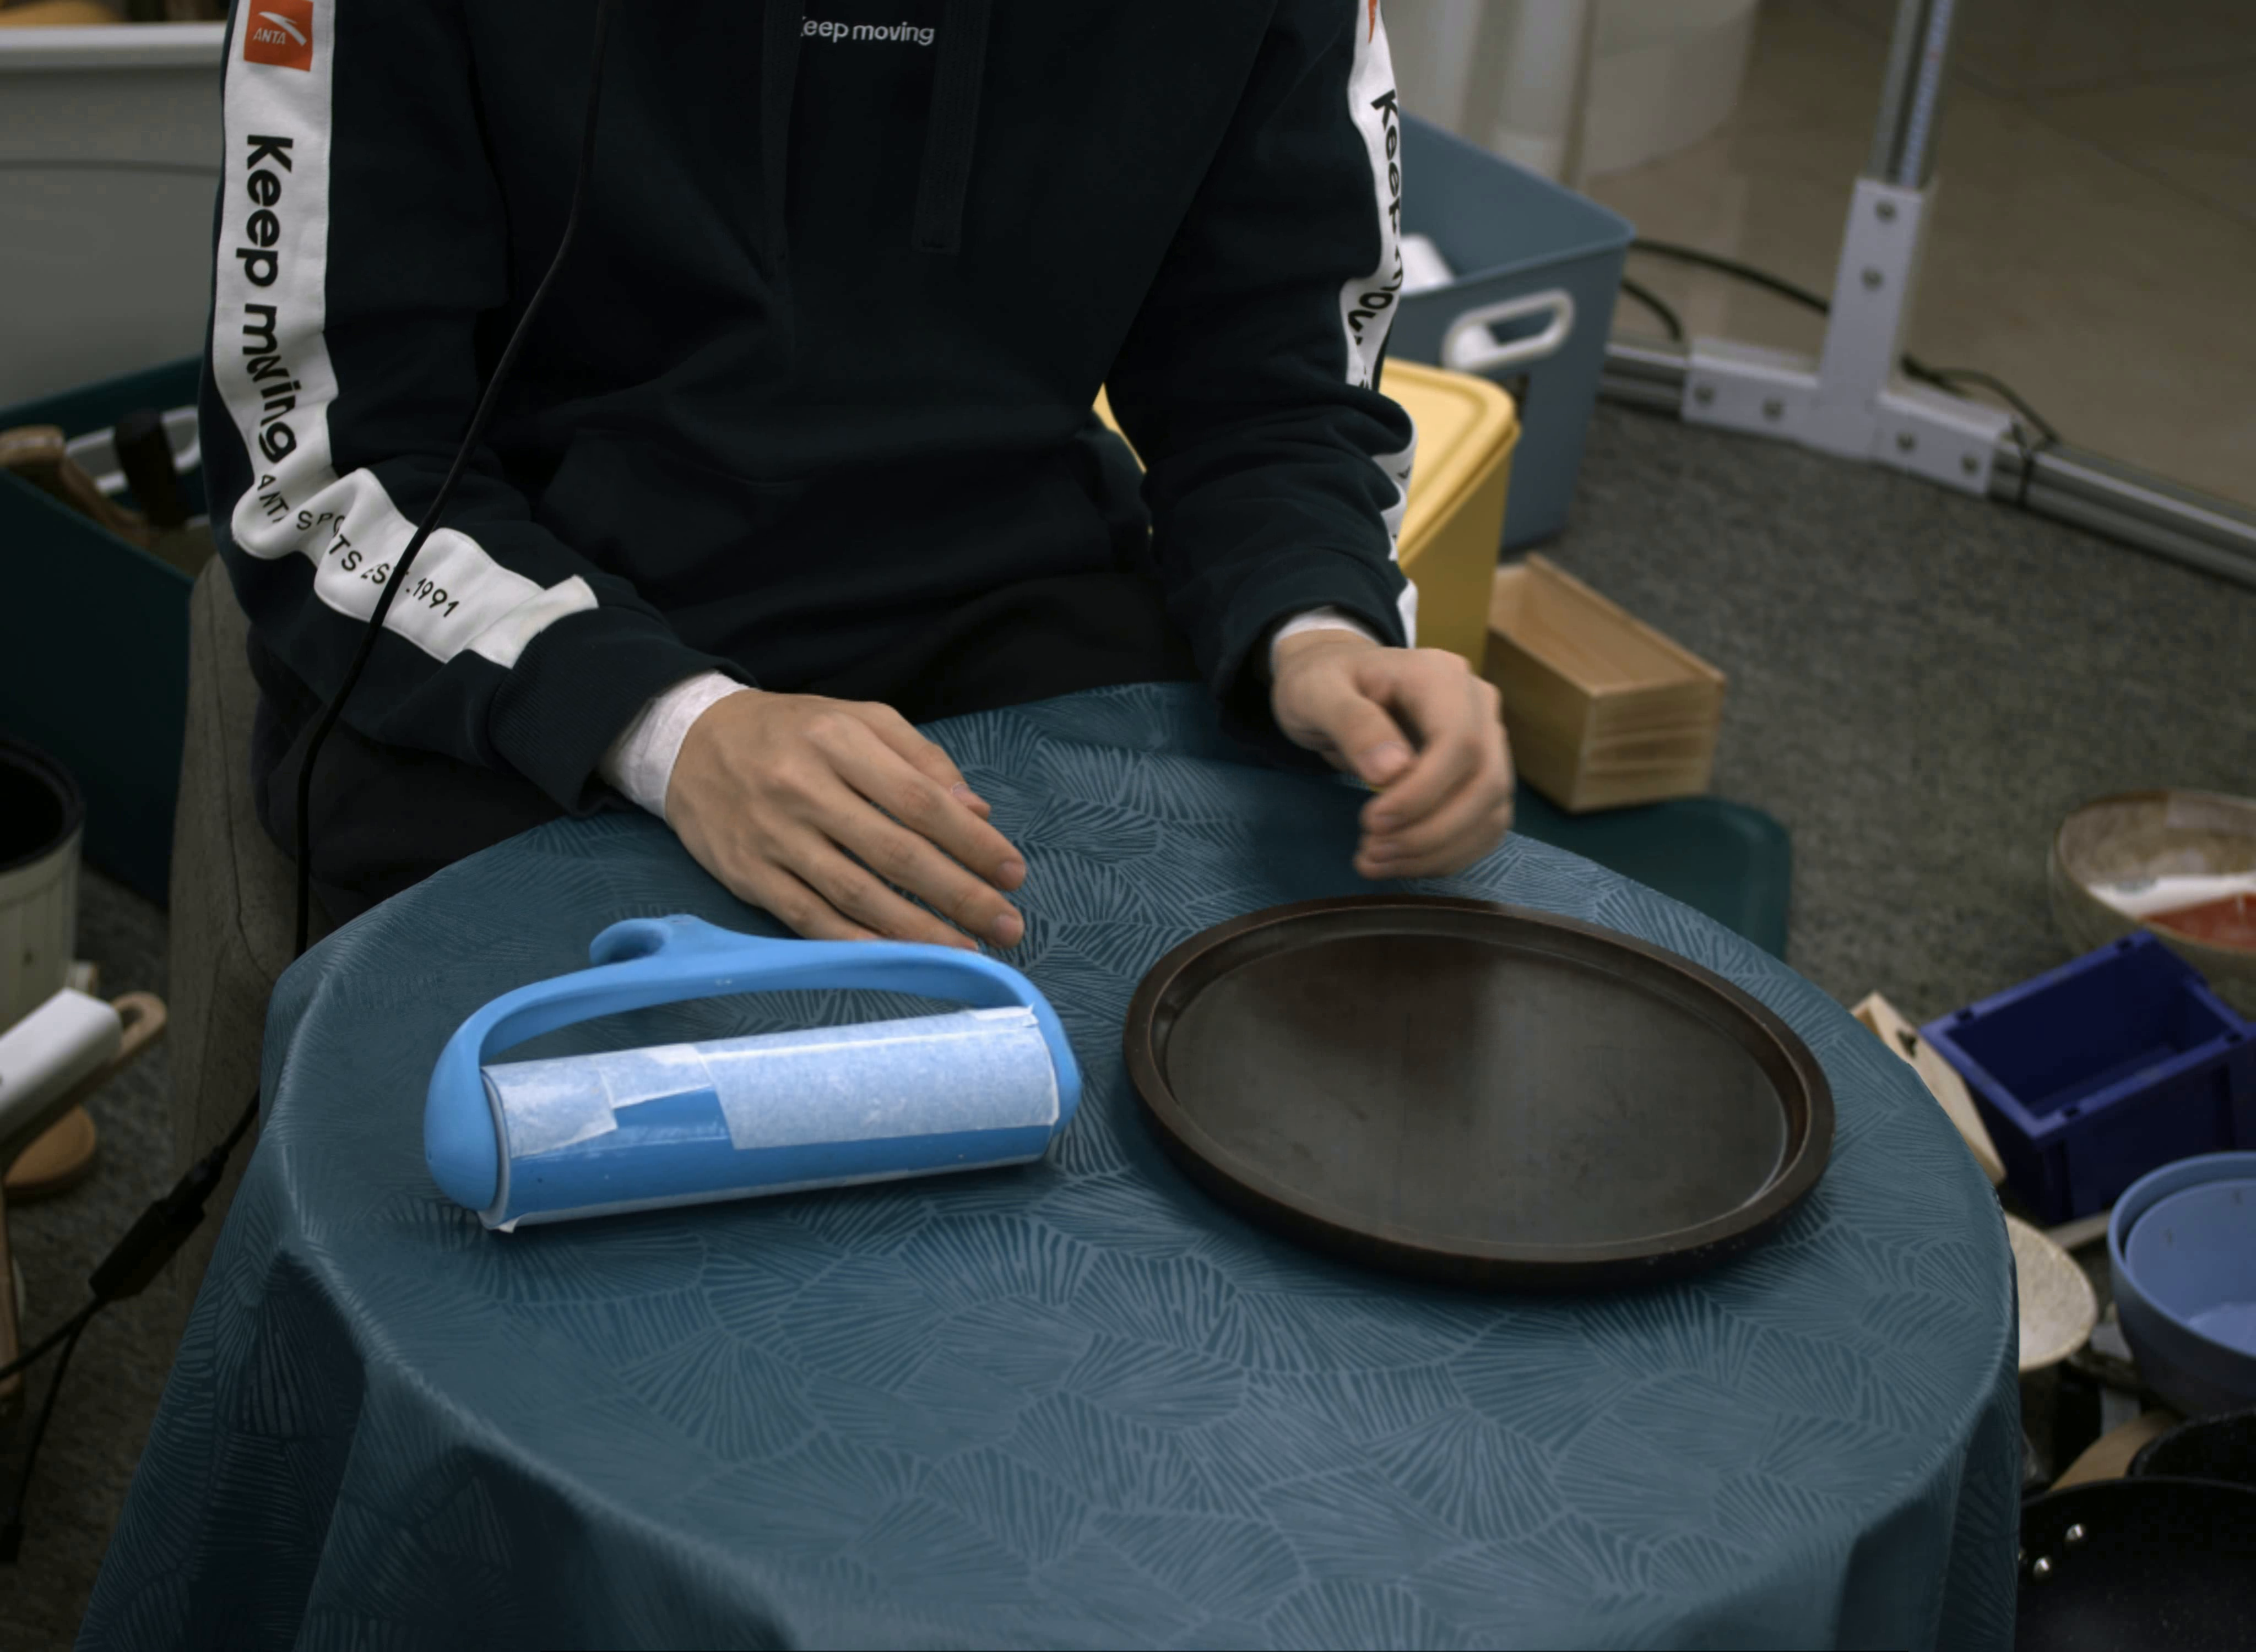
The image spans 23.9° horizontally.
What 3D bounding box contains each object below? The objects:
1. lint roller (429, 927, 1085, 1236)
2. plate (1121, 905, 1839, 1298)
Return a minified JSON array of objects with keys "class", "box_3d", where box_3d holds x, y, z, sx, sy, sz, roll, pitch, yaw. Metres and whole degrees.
[{"class":"lint roller","box_3d":[-0.146,0.069,1.811,0.227,0.067,0.182,-8,31,-24]},{"class":"plate","box_3d":[0.122,0.094,1.859,0.254,0.029,0.256,6,28,-3]}]
